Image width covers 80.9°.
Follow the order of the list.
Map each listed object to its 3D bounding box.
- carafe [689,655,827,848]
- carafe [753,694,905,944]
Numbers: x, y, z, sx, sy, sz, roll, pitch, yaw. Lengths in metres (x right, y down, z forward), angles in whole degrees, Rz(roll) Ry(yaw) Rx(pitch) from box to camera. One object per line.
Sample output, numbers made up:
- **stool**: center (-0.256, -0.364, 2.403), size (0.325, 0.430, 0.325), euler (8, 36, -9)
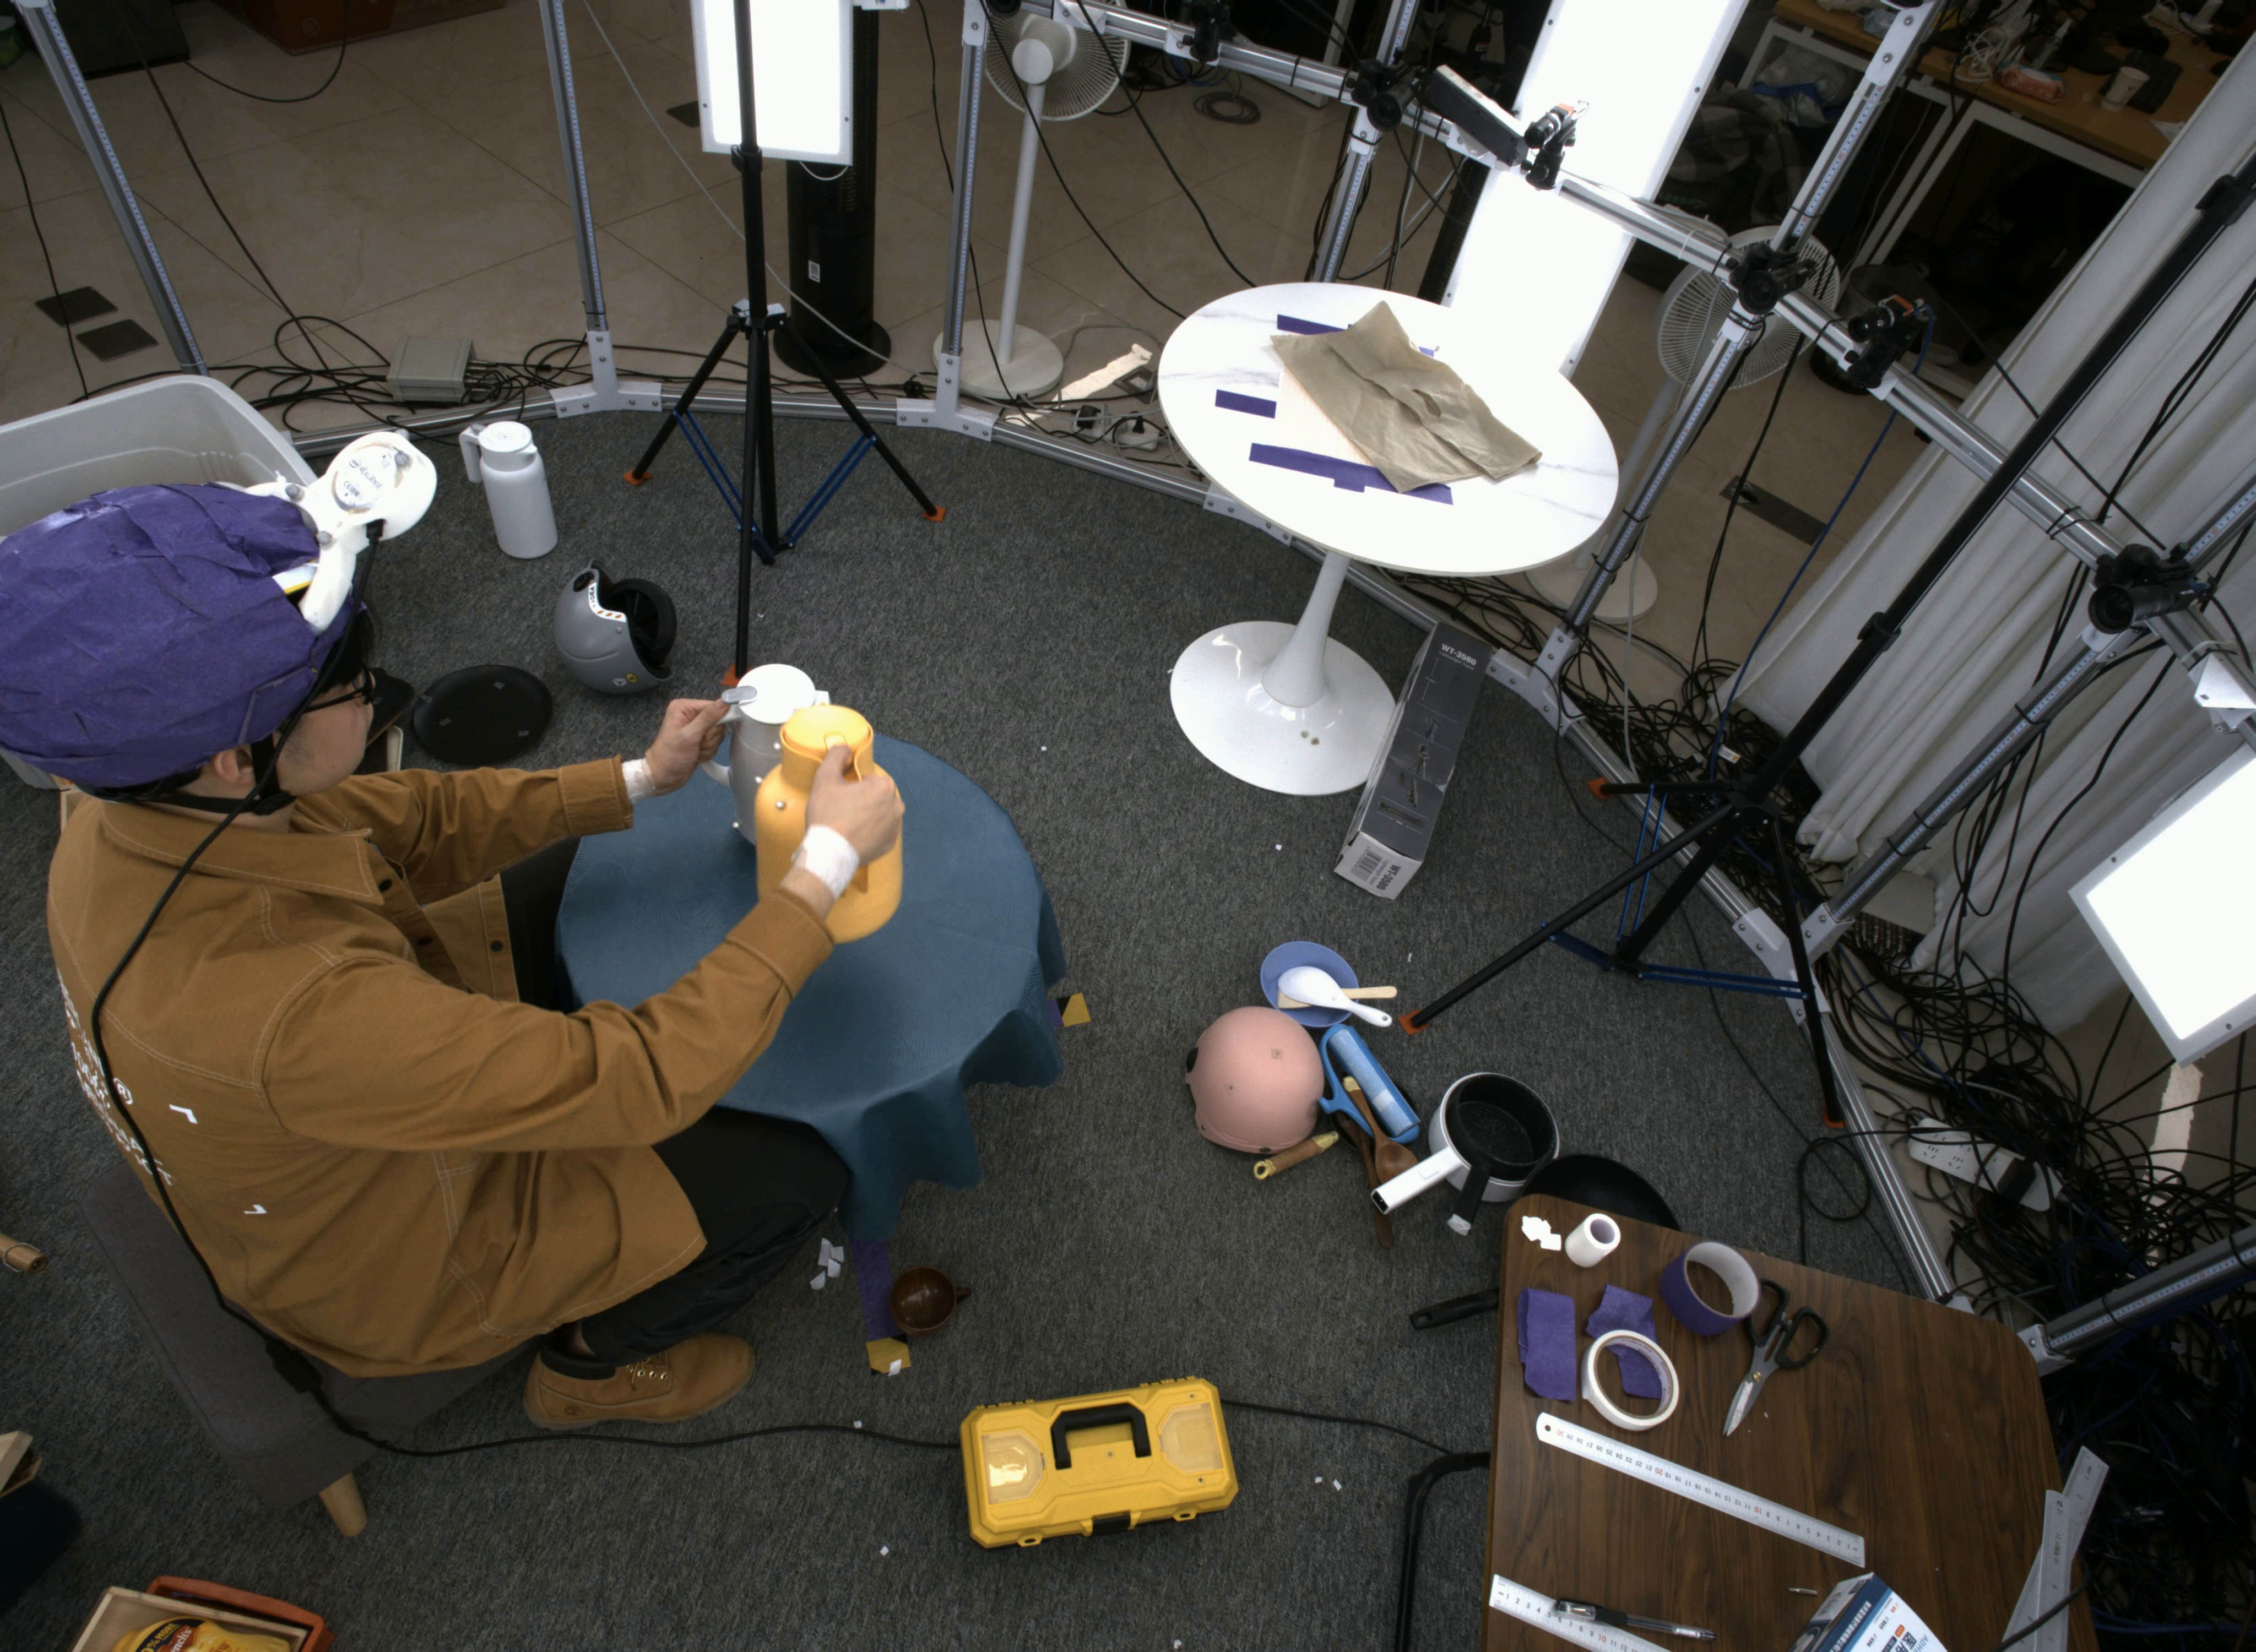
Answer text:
- **carafe**: center (-0.448, -0.091, 1.585), size (0.168, 0.254, 0.129), euler (-7, 56, -14)
- **carafe**: center (-0.323, 0.001, 1.412), size (0.164, 0.268, 0.195), euler (-12, 40, -21)
